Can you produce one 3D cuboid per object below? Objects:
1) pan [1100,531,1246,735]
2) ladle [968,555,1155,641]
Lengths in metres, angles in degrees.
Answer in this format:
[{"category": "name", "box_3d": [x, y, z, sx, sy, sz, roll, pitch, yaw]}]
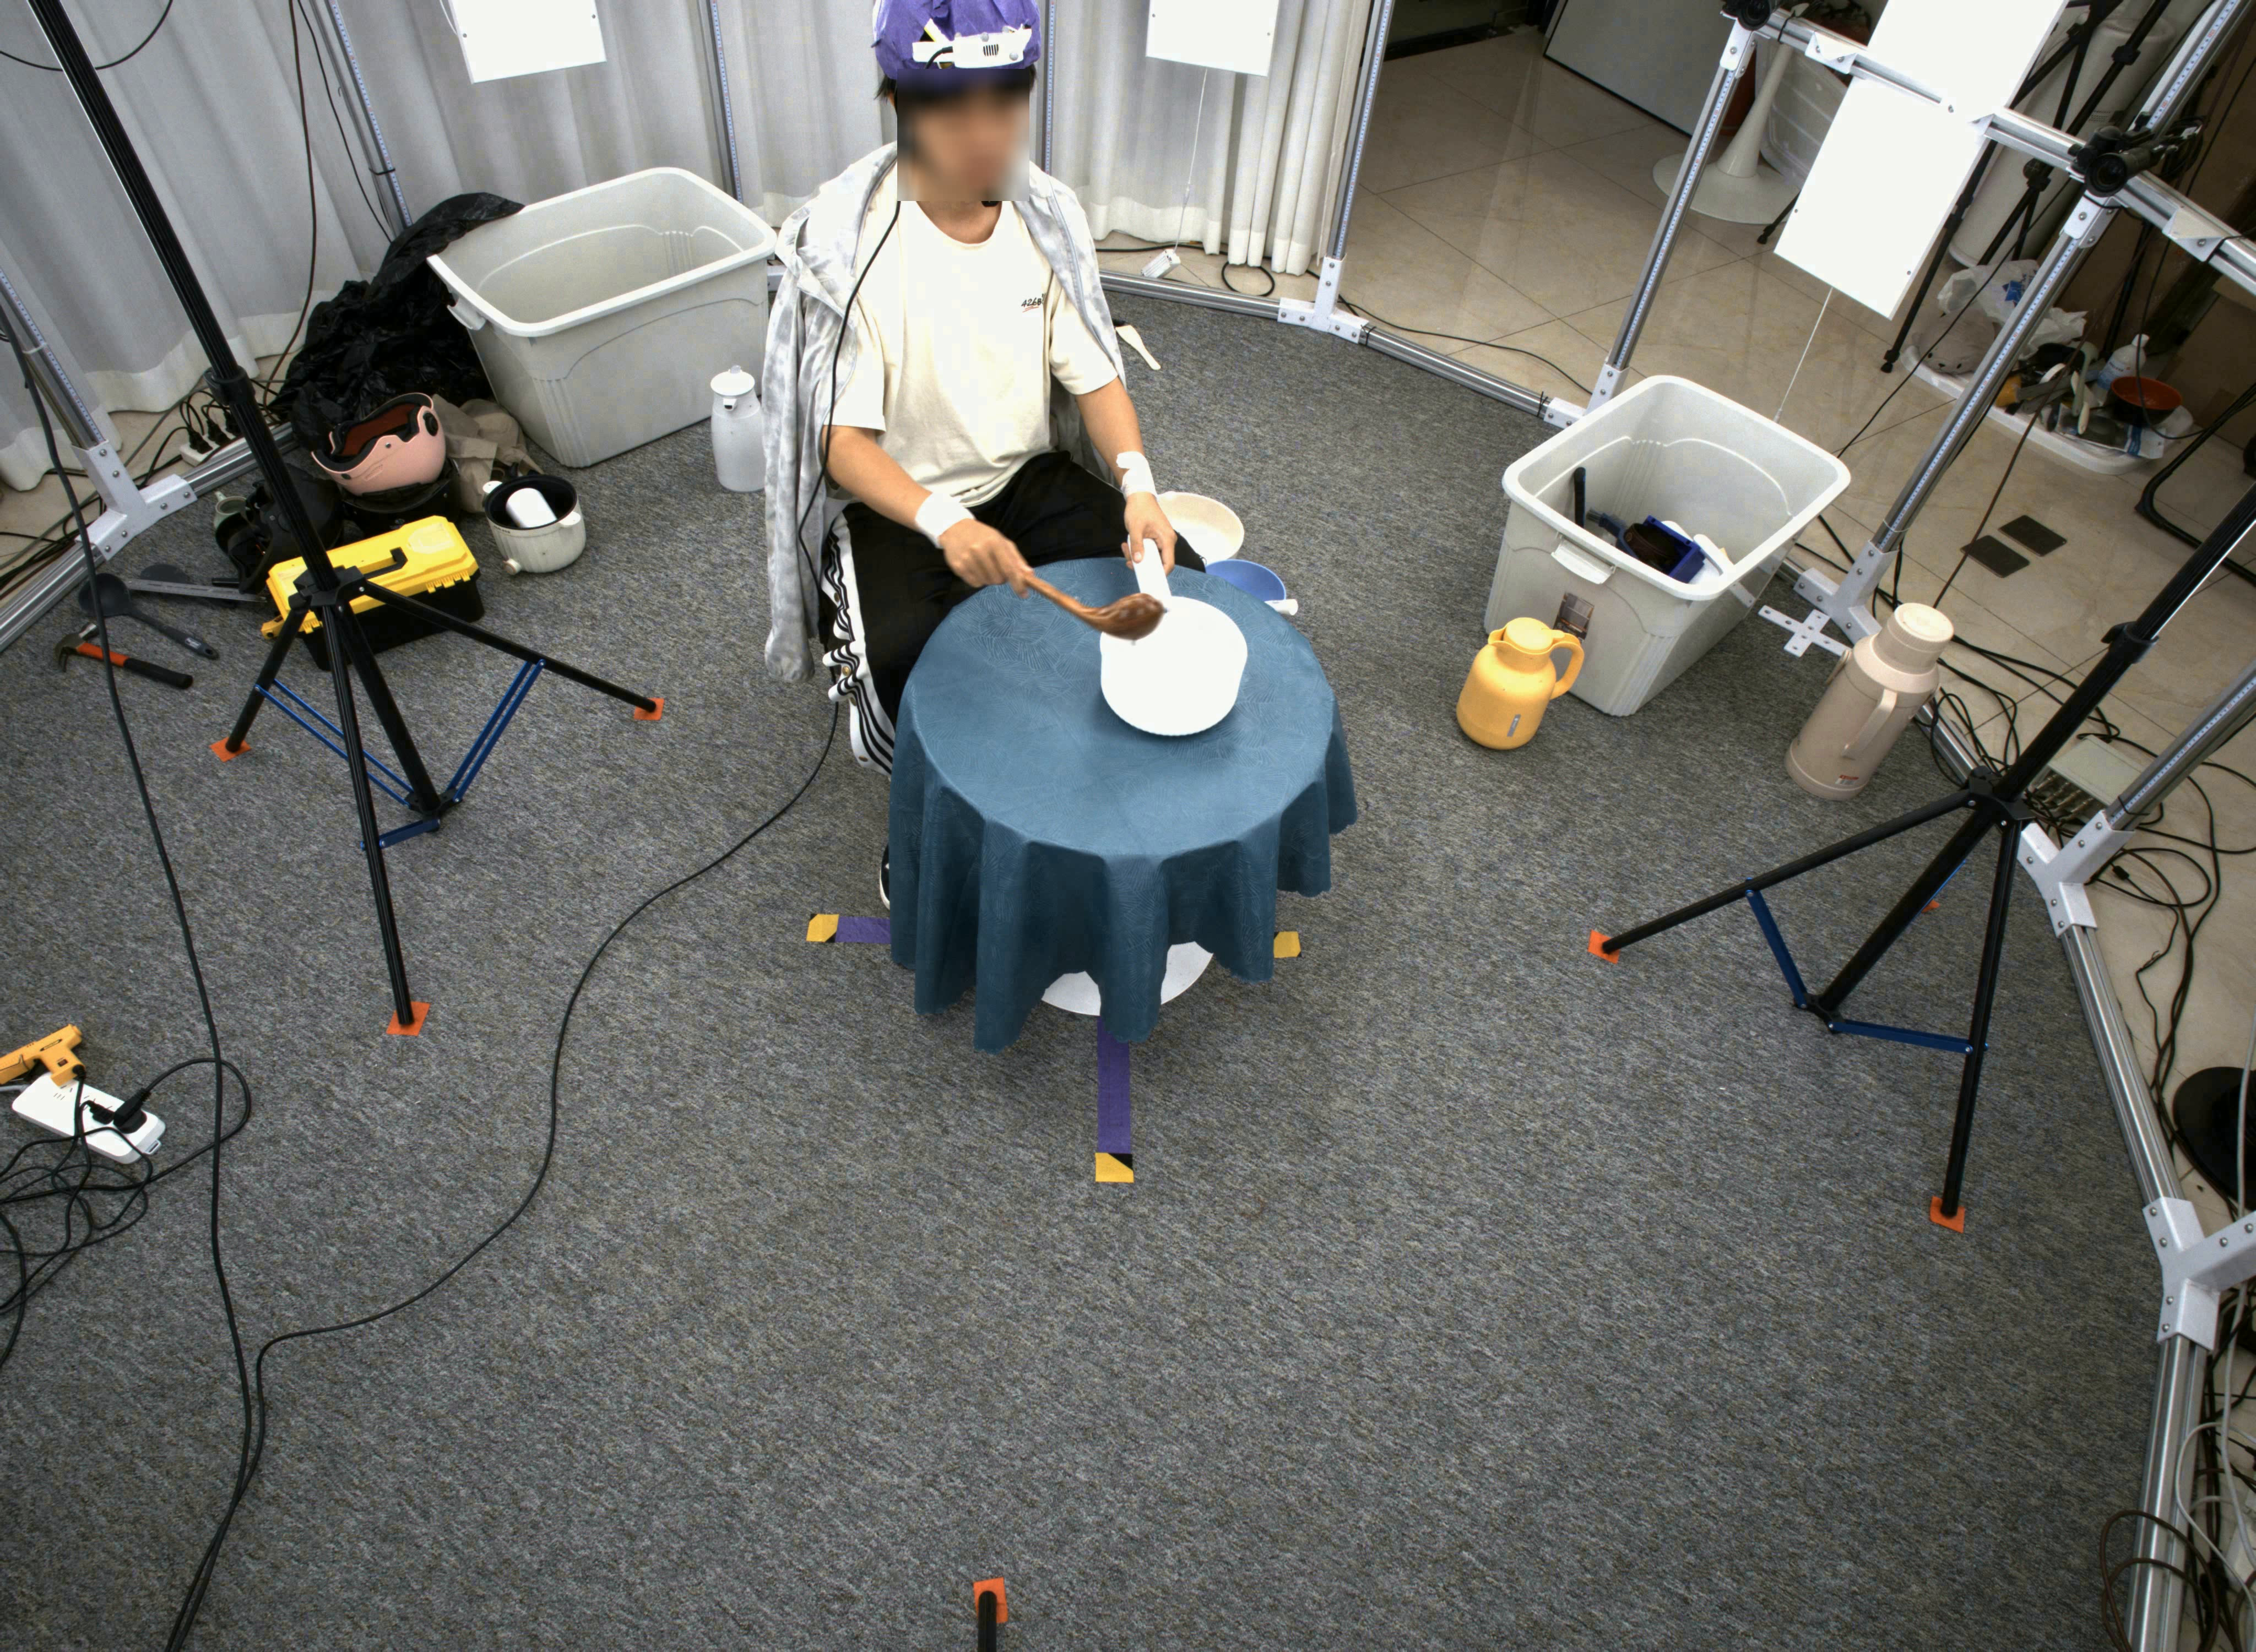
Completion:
[{"category": "pan", "box_3d": [0.048, -0.276, 1.842, 0.201, 0.099, 0.364, -6, 49, -7]}, {"category": "ladle", "box_3d": [-0.088, -0.320, 1.706, 0.277, 0.080, 0.077, 30, 58, 26]}]
